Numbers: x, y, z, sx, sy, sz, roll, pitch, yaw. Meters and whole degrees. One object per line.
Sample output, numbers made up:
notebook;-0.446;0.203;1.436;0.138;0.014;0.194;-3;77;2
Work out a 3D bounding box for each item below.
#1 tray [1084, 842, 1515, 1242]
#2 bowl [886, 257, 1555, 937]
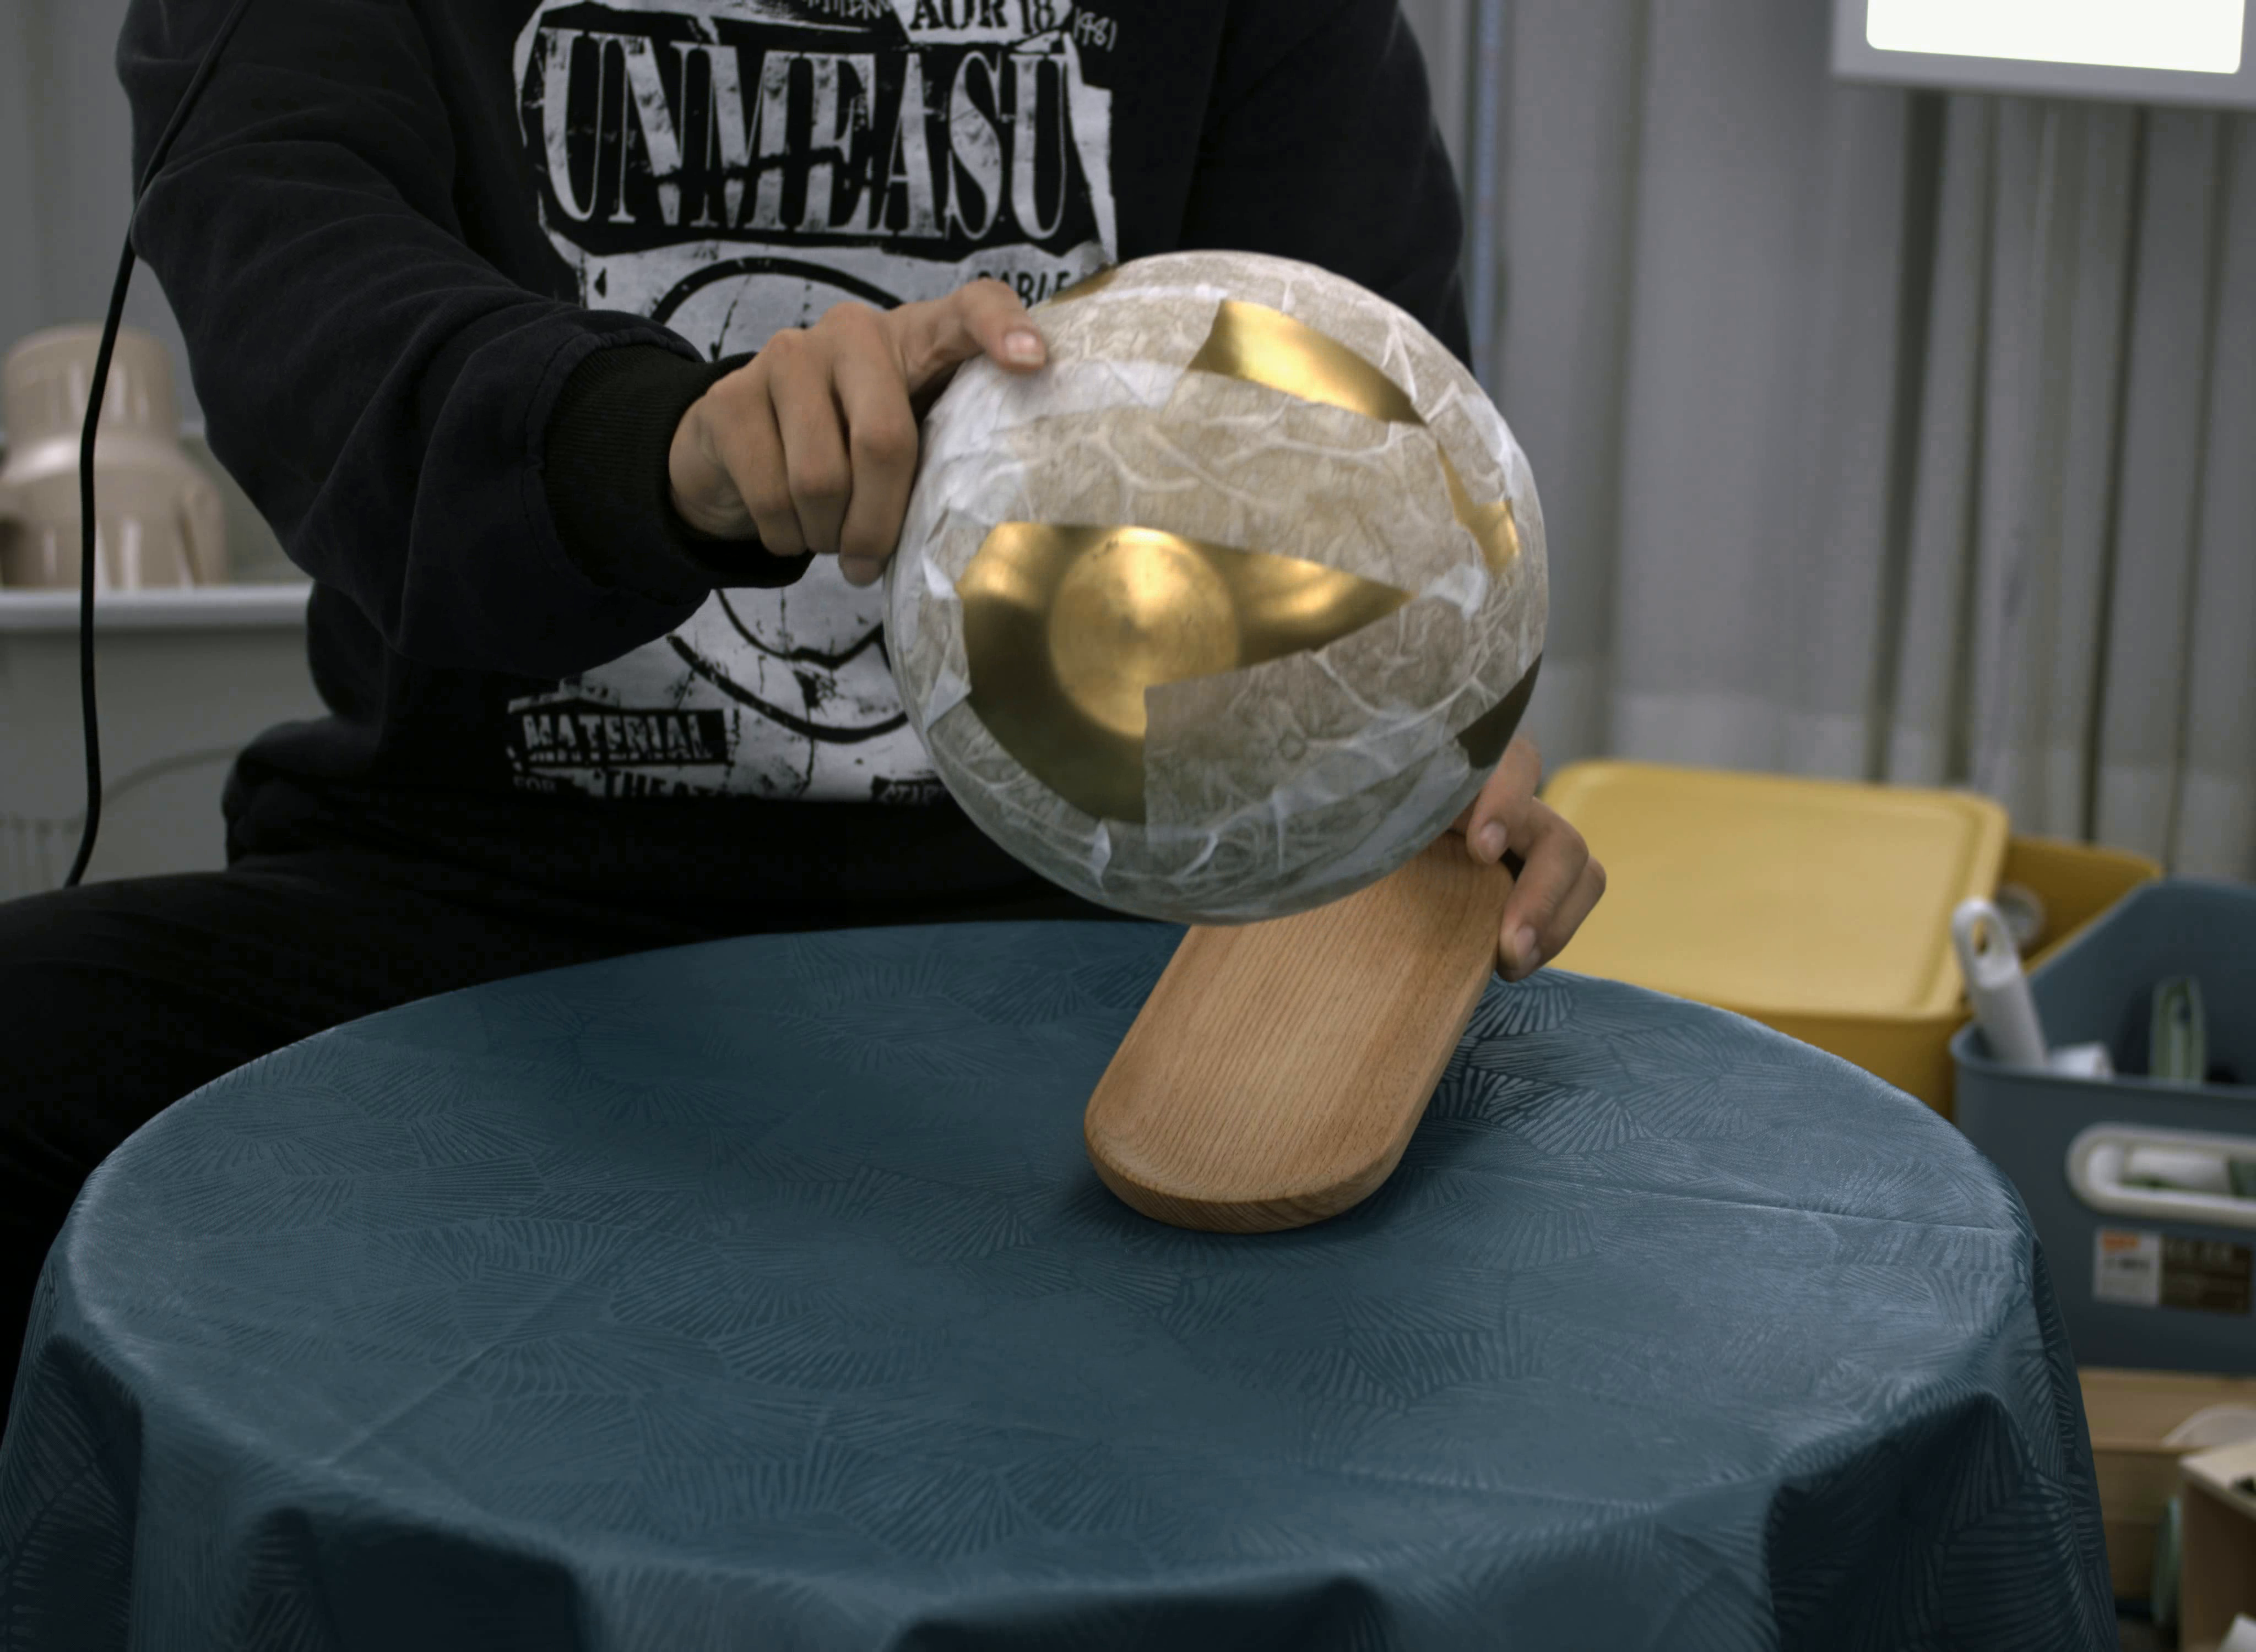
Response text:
tray;0.057;0.064;1.675;0.101;0.020;0.230;6;33;16
bowl;0.017;-0.055;1.526;0.213;0.216;0.094;5;15;12
